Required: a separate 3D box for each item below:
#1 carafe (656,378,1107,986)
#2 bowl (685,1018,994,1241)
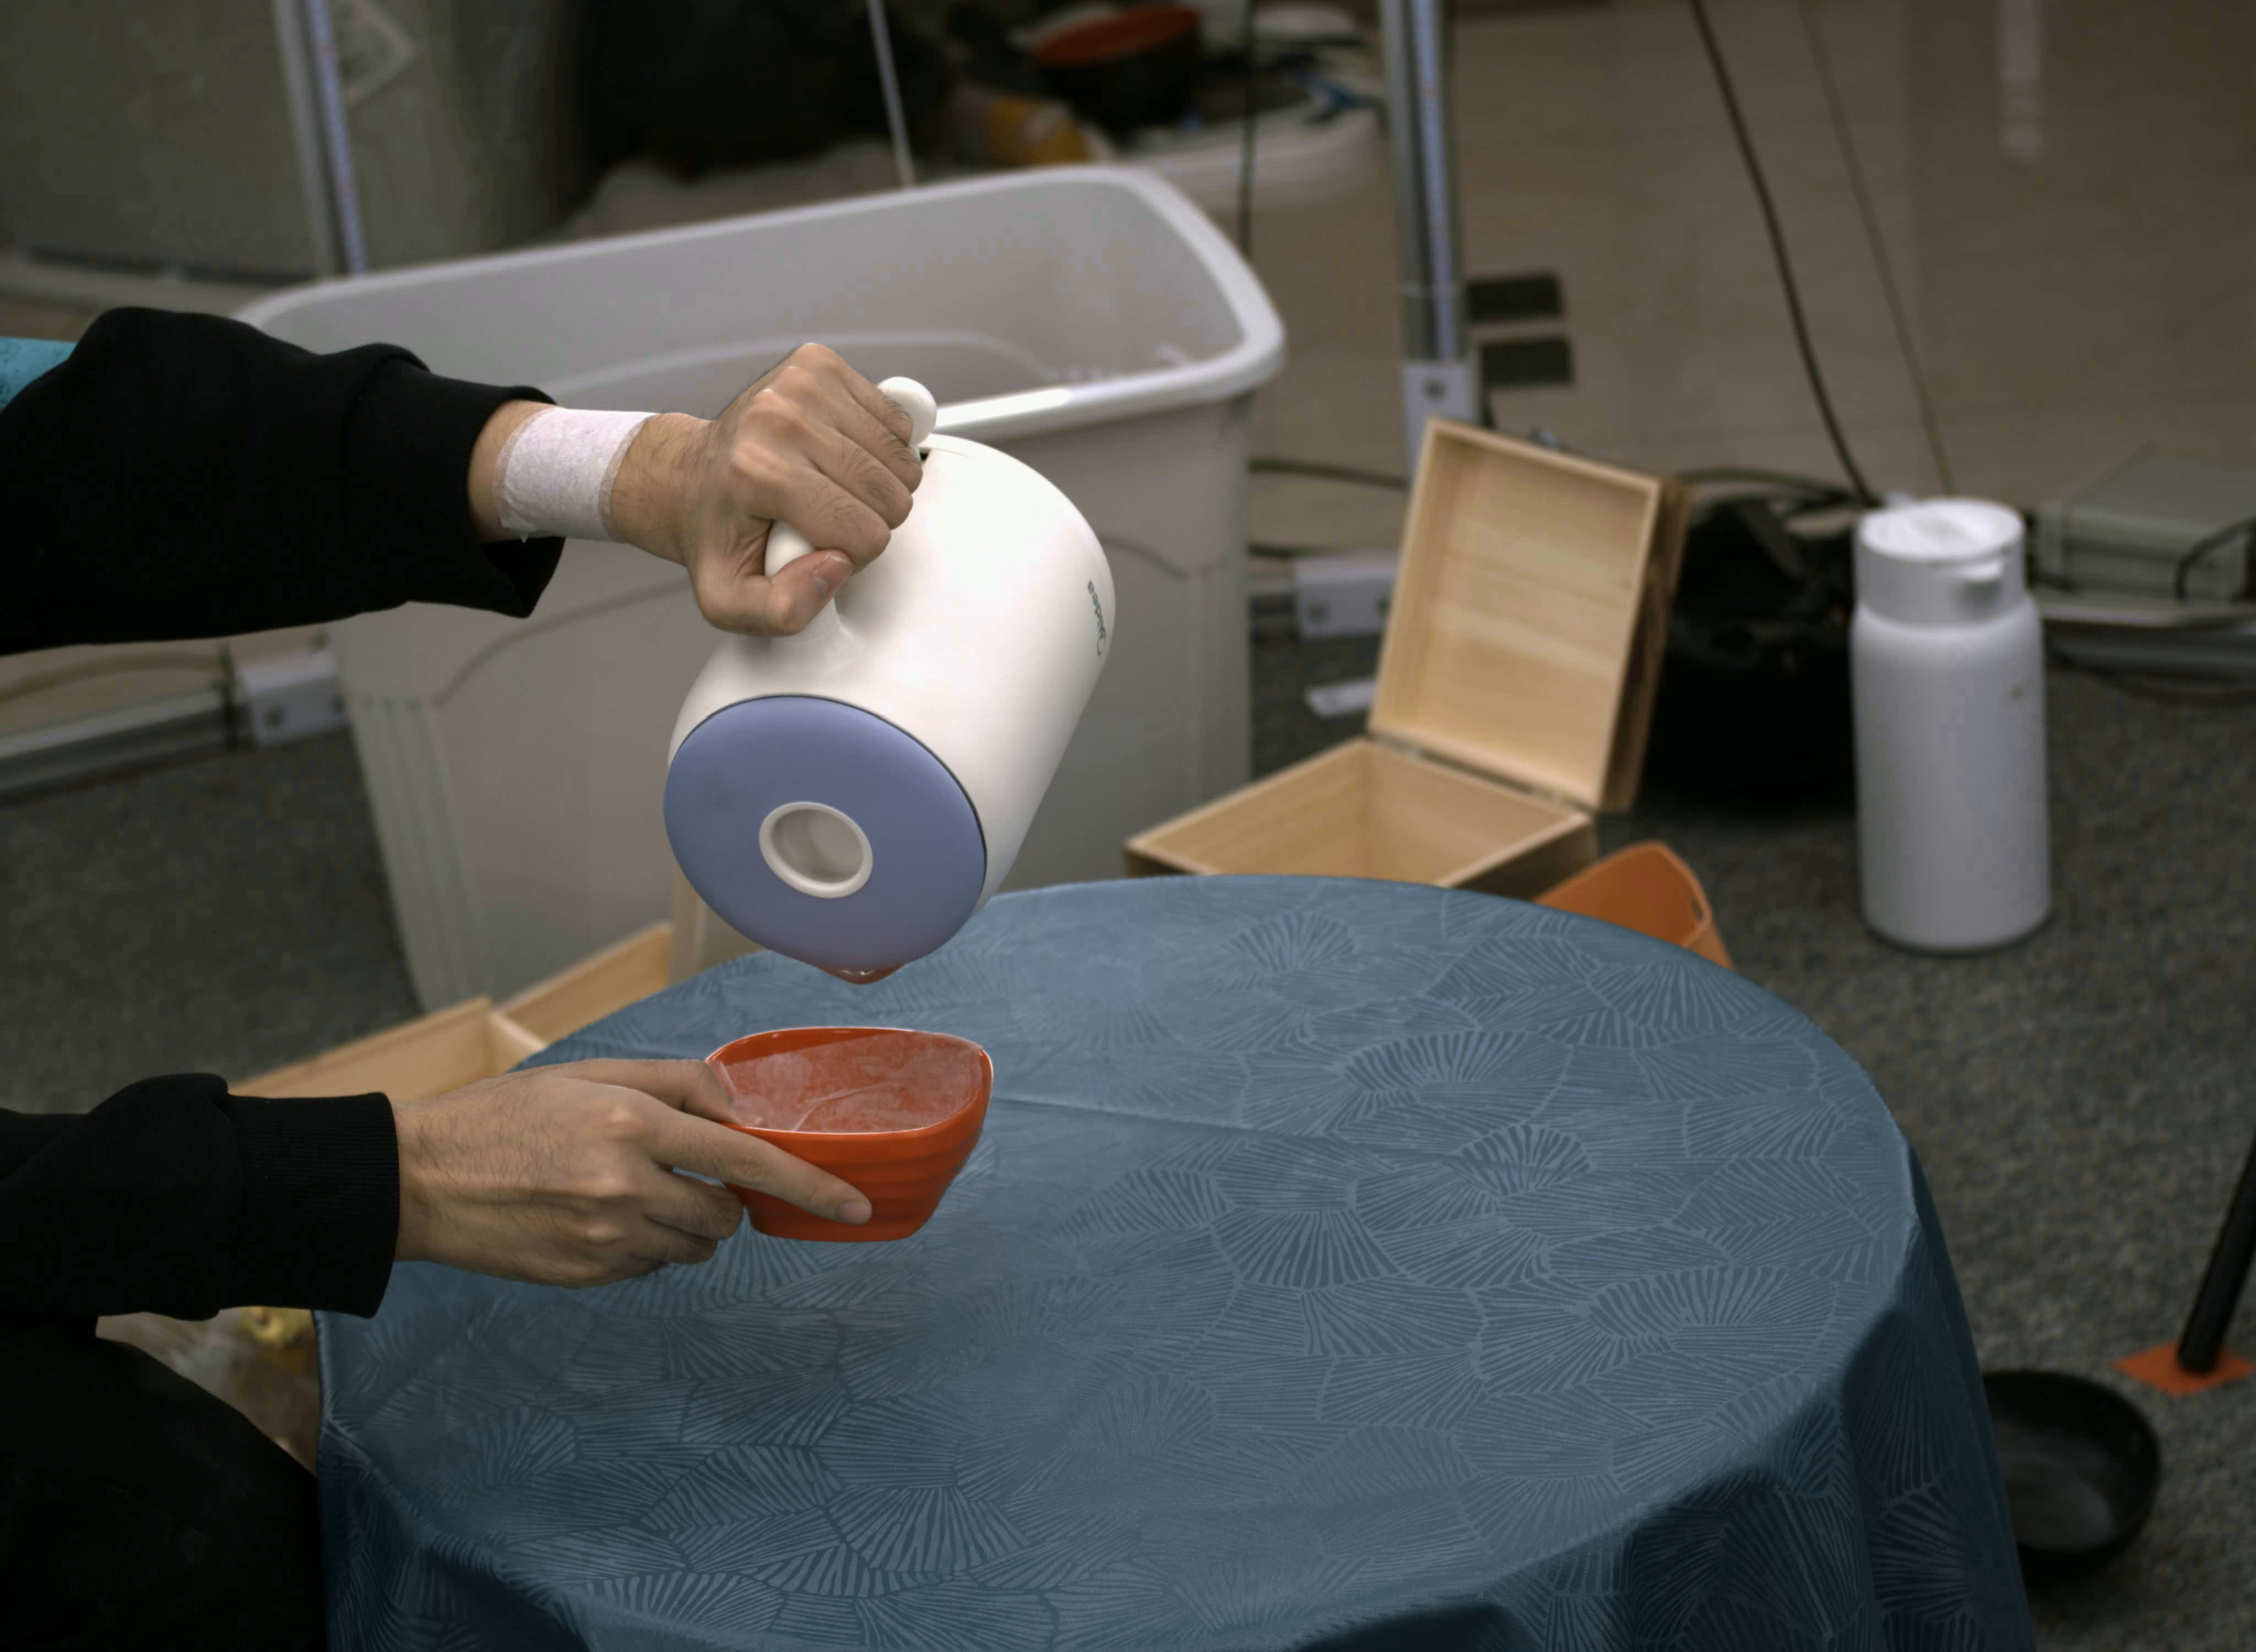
[{"bbox_3d":[-0.094,-0.066,2.036,0.132,0.194,0.179,-1,35,18],"label":"carafe"},{"bbox_3d":[-0.104,0.112,2.043,0.119,0.052,0.117,1,21,0],"label":"bowl"}]
